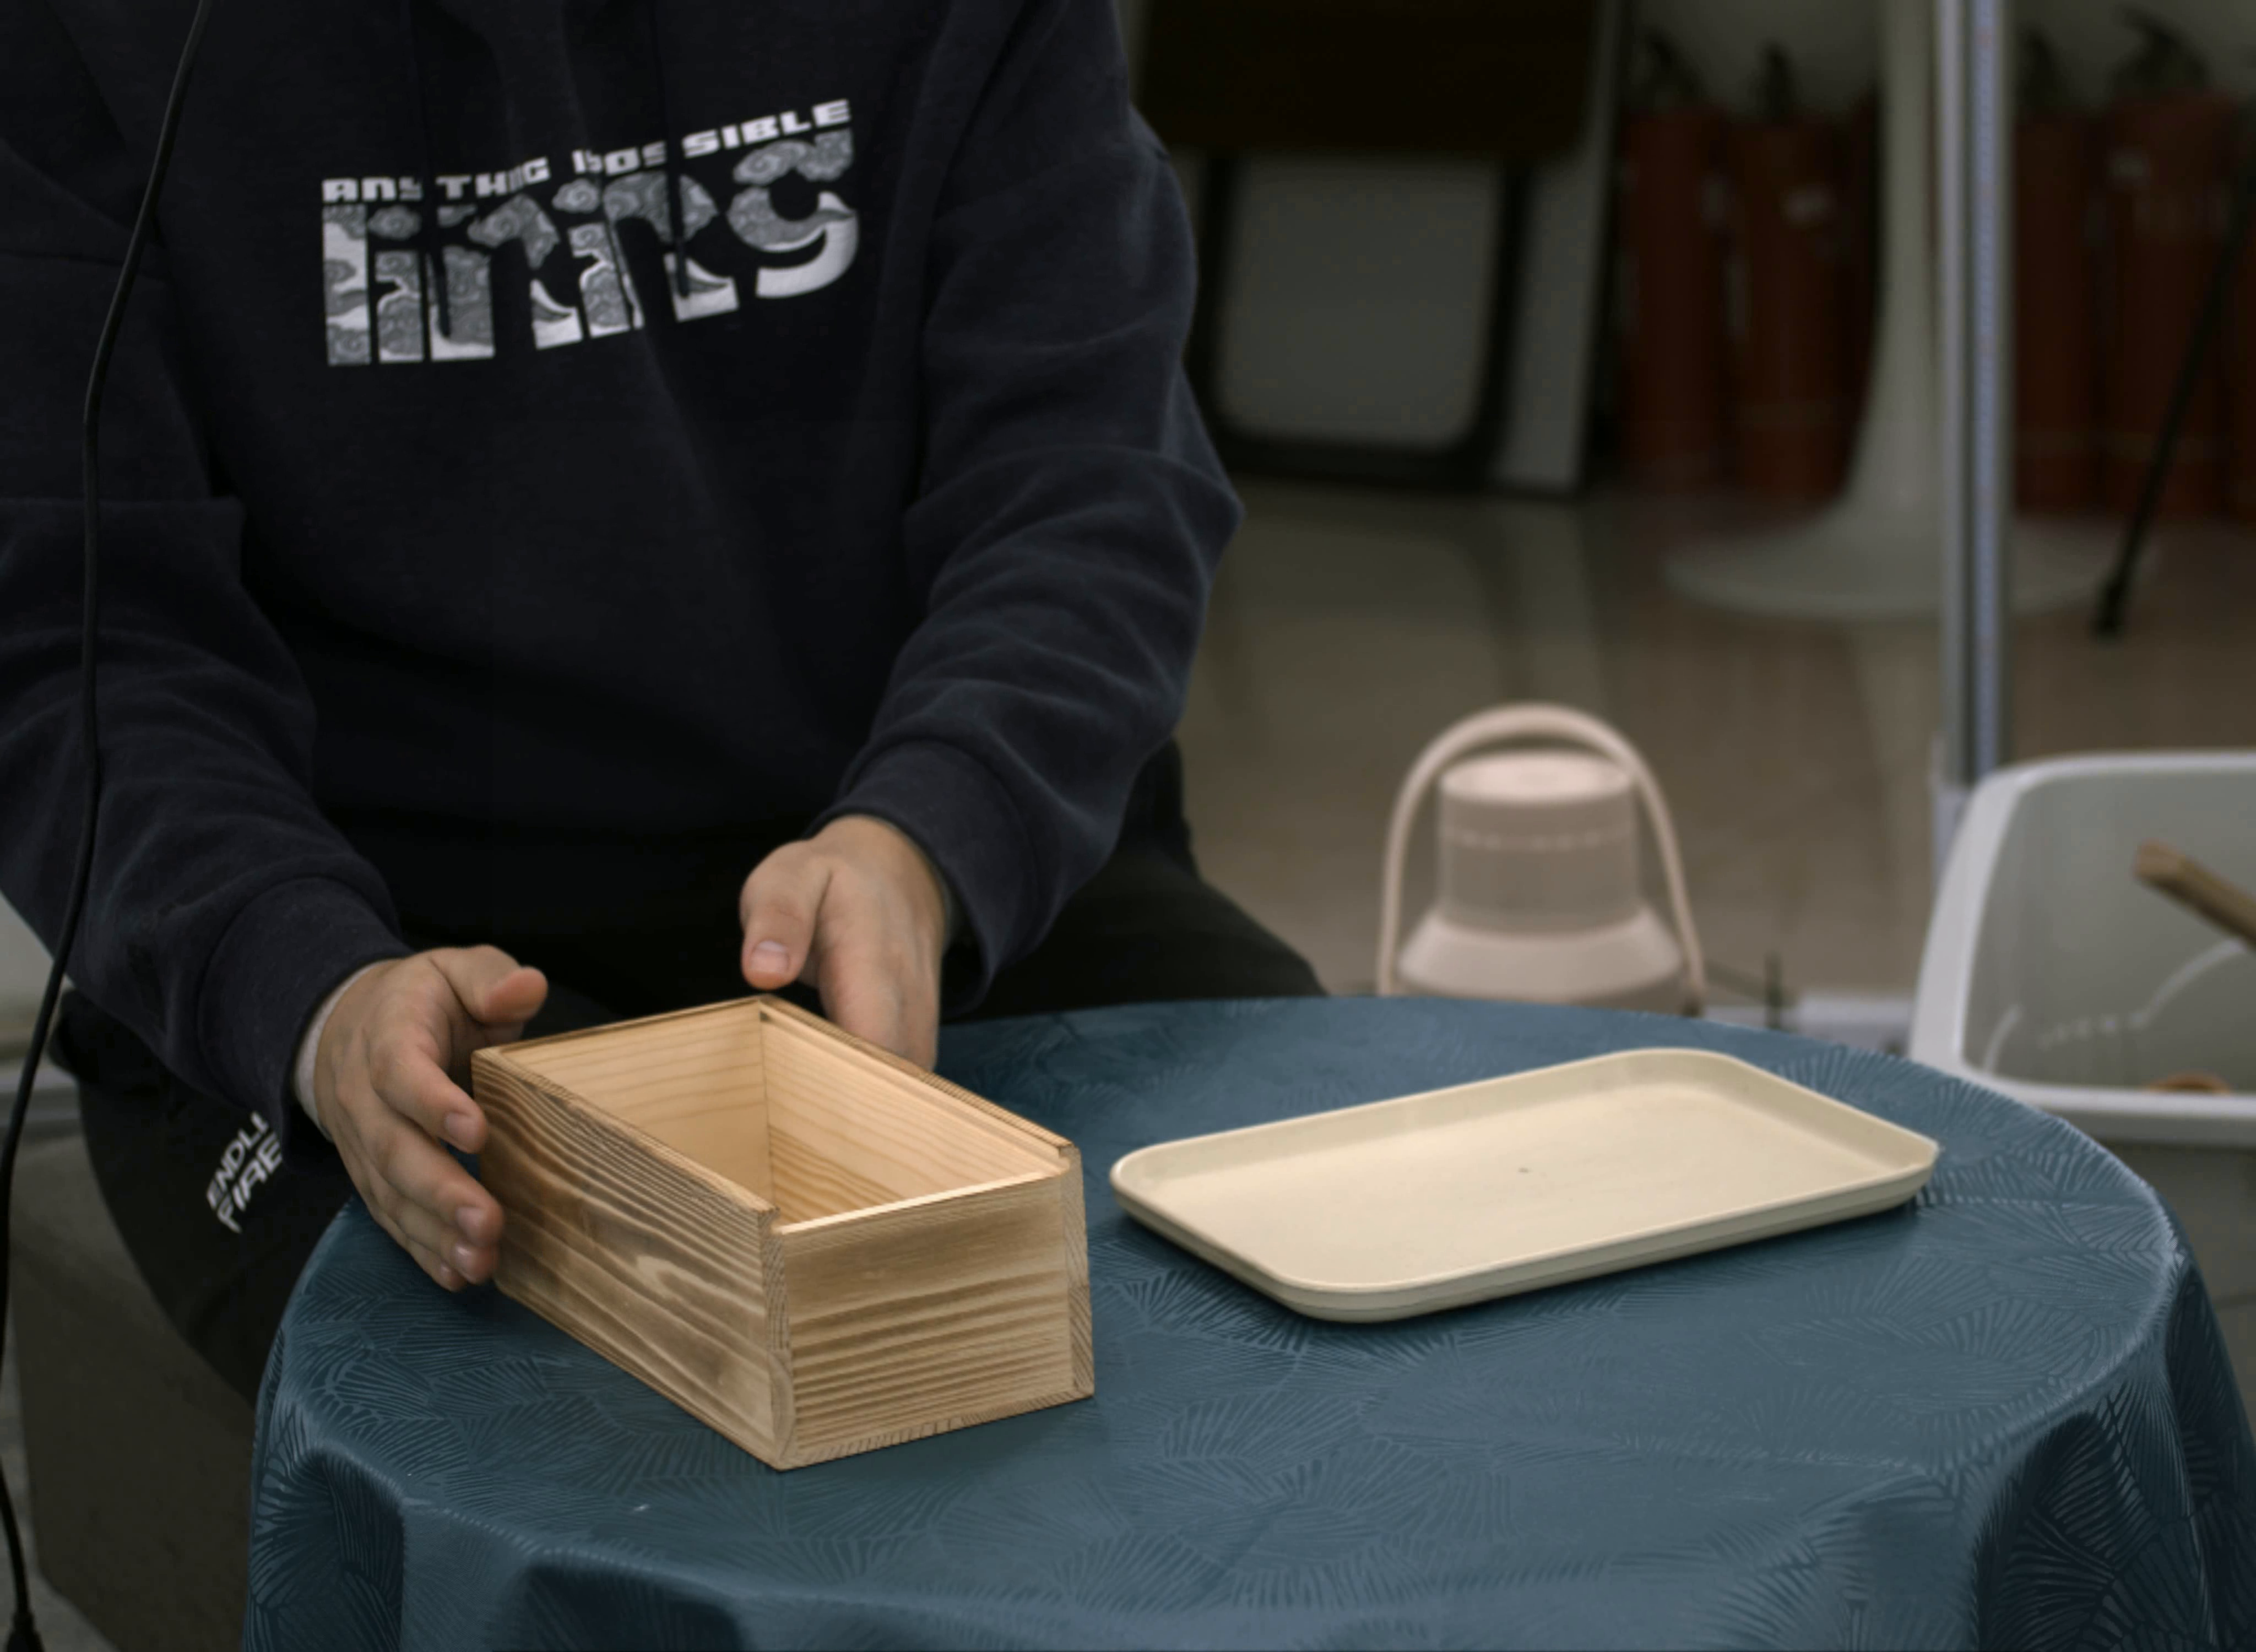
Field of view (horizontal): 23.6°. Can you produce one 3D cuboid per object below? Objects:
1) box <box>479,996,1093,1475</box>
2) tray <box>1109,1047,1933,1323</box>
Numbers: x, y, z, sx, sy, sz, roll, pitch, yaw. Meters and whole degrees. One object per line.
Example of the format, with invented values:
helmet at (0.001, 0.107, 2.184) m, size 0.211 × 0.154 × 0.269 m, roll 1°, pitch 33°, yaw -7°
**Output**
box at (-0.107, 0.120, 1.642) m, size 0.105 × 0.081 × 0.213 m, roll -10°, pitch 15°, yaw -27°
tray at (0.126, 0.115, 1.729) m, size 0.234 × 0.017 × 0.173 m, roll -11°, pitch 15°, yaw -24°
